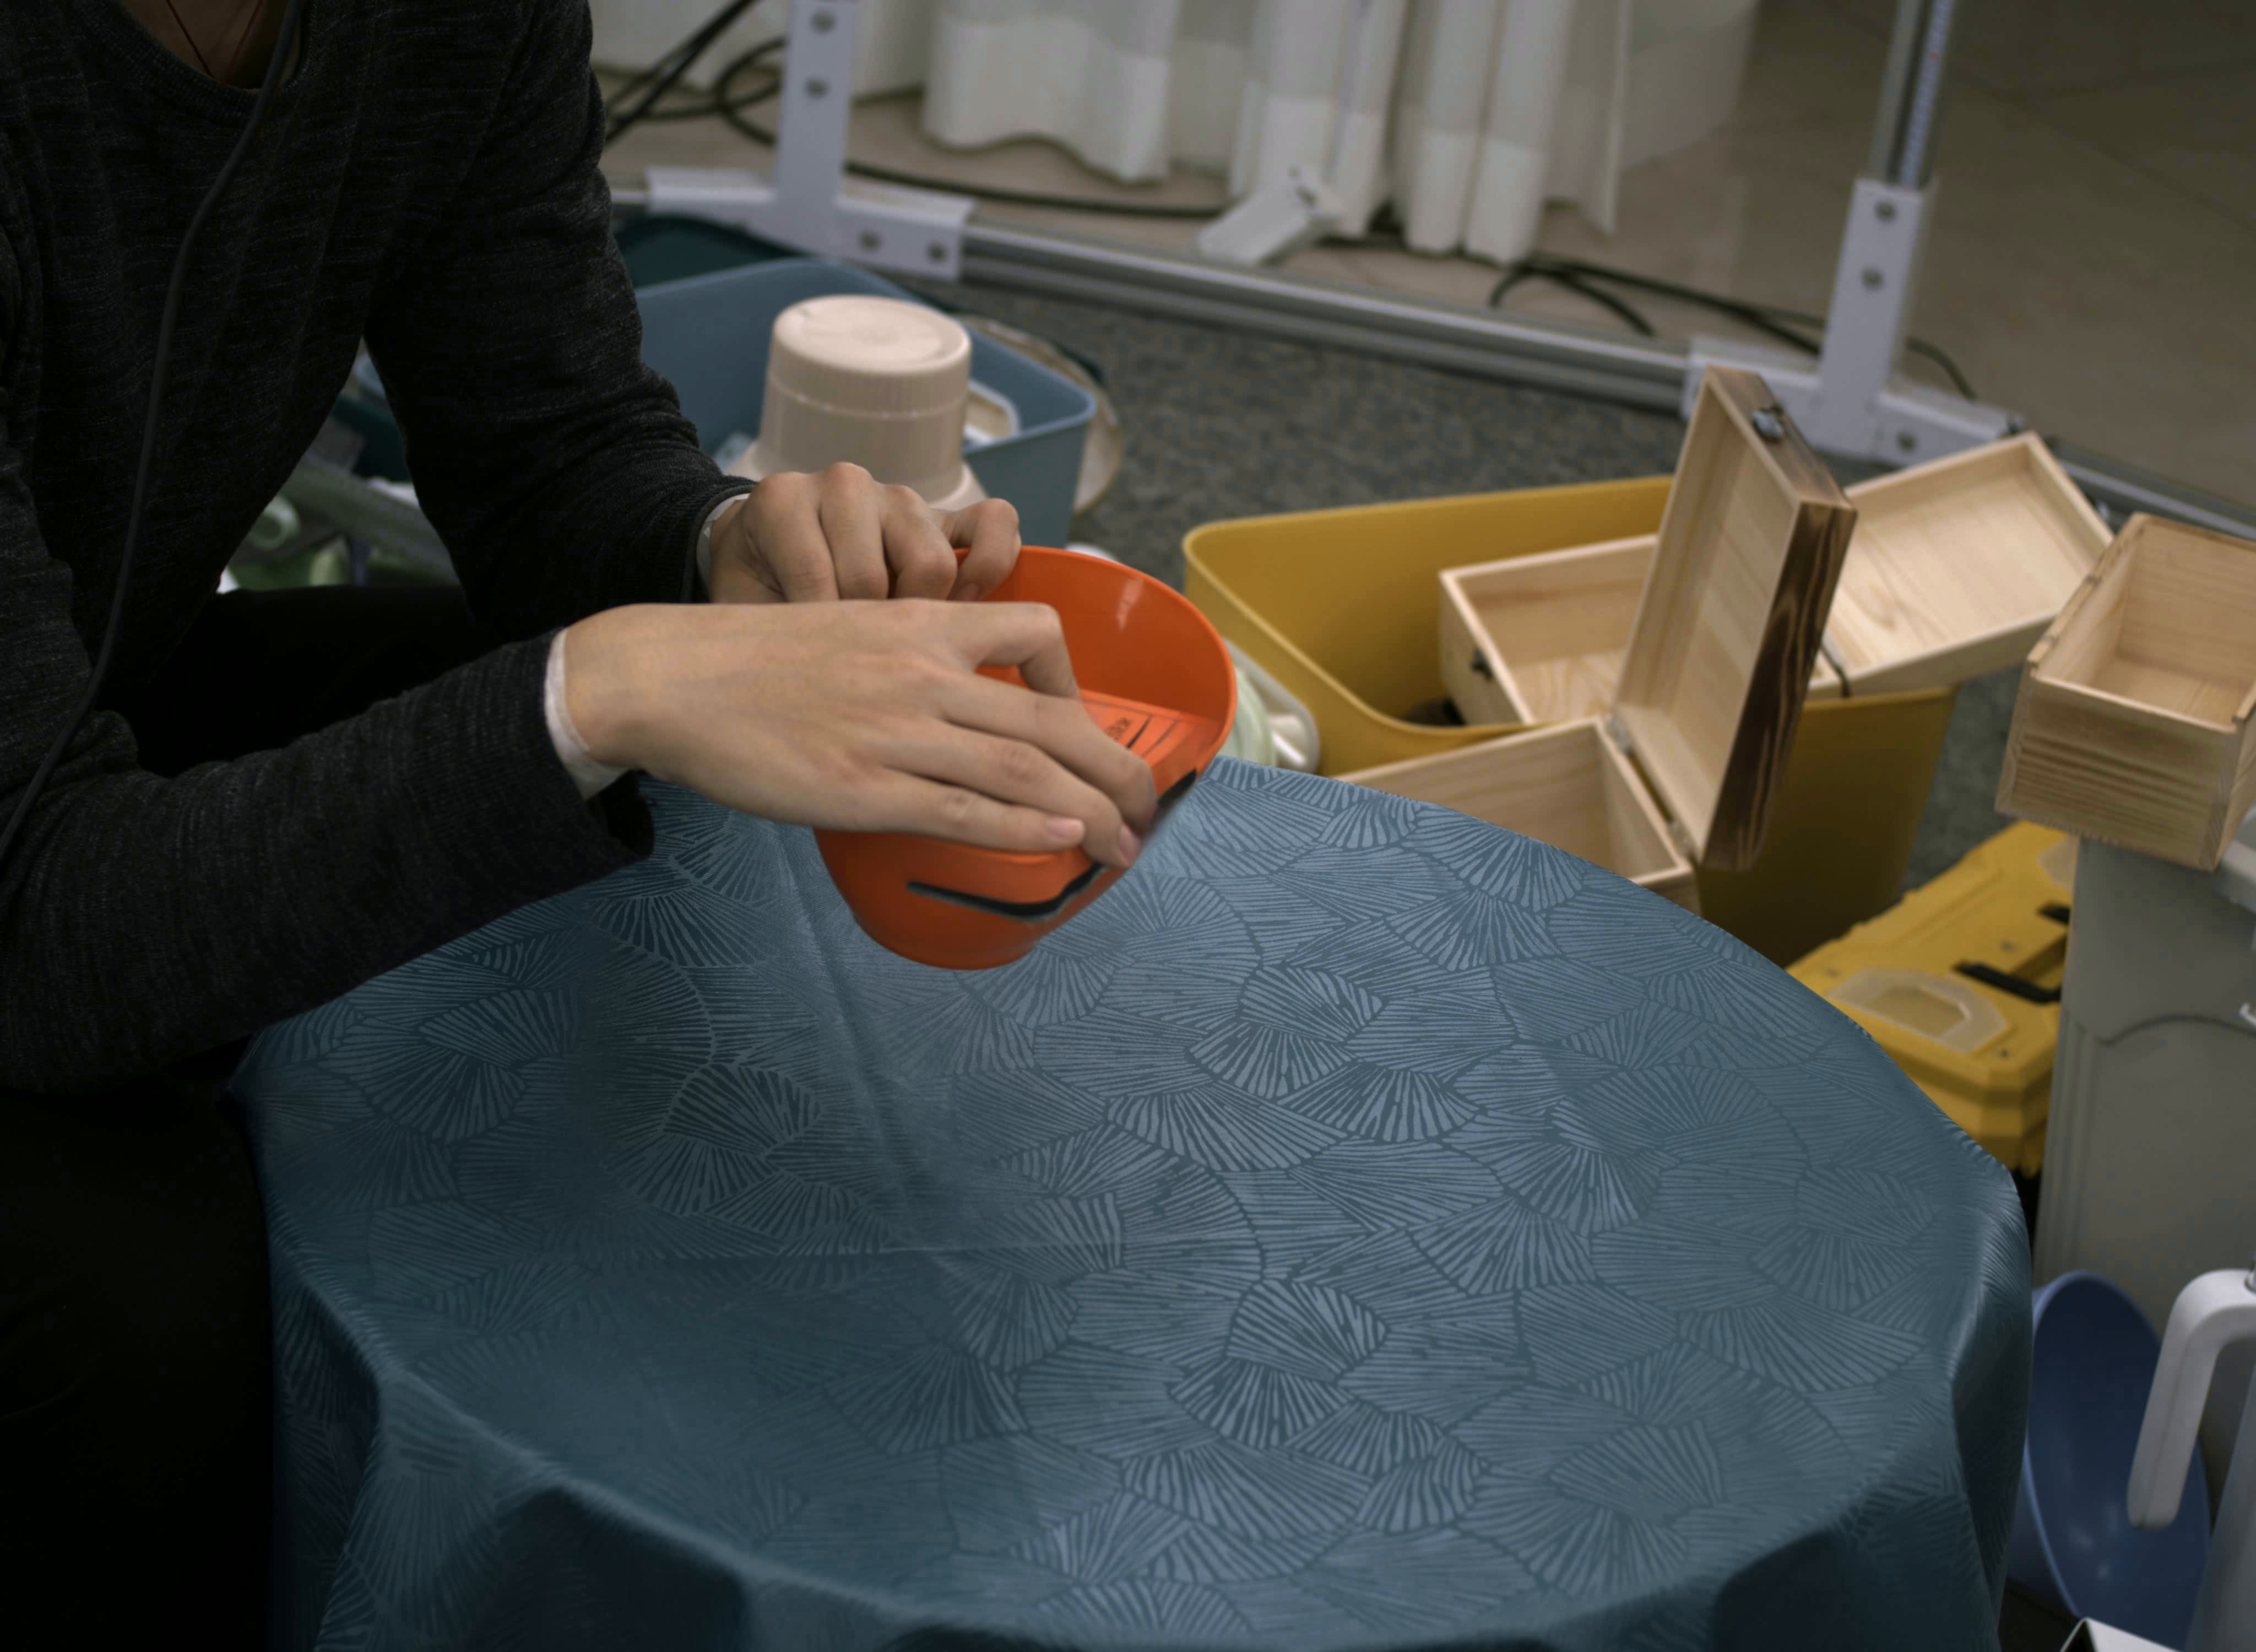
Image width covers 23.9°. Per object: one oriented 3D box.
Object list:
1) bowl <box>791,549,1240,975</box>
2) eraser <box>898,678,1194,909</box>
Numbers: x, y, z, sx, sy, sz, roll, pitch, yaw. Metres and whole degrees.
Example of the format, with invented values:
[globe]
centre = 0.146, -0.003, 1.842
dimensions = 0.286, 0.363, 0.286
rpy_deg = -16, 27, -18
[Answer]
[bowl]
centre = -0.043, -0.013, 1.780
dimensions = 0.147, 0.104, 0.149
rpy_deg = 8, 34, -6
[eraser]
centre = -0.025, -0.011, 1.686
dimensions = 0.059, 0.023, 0.108
rpy_deg = 14, 32, 24
